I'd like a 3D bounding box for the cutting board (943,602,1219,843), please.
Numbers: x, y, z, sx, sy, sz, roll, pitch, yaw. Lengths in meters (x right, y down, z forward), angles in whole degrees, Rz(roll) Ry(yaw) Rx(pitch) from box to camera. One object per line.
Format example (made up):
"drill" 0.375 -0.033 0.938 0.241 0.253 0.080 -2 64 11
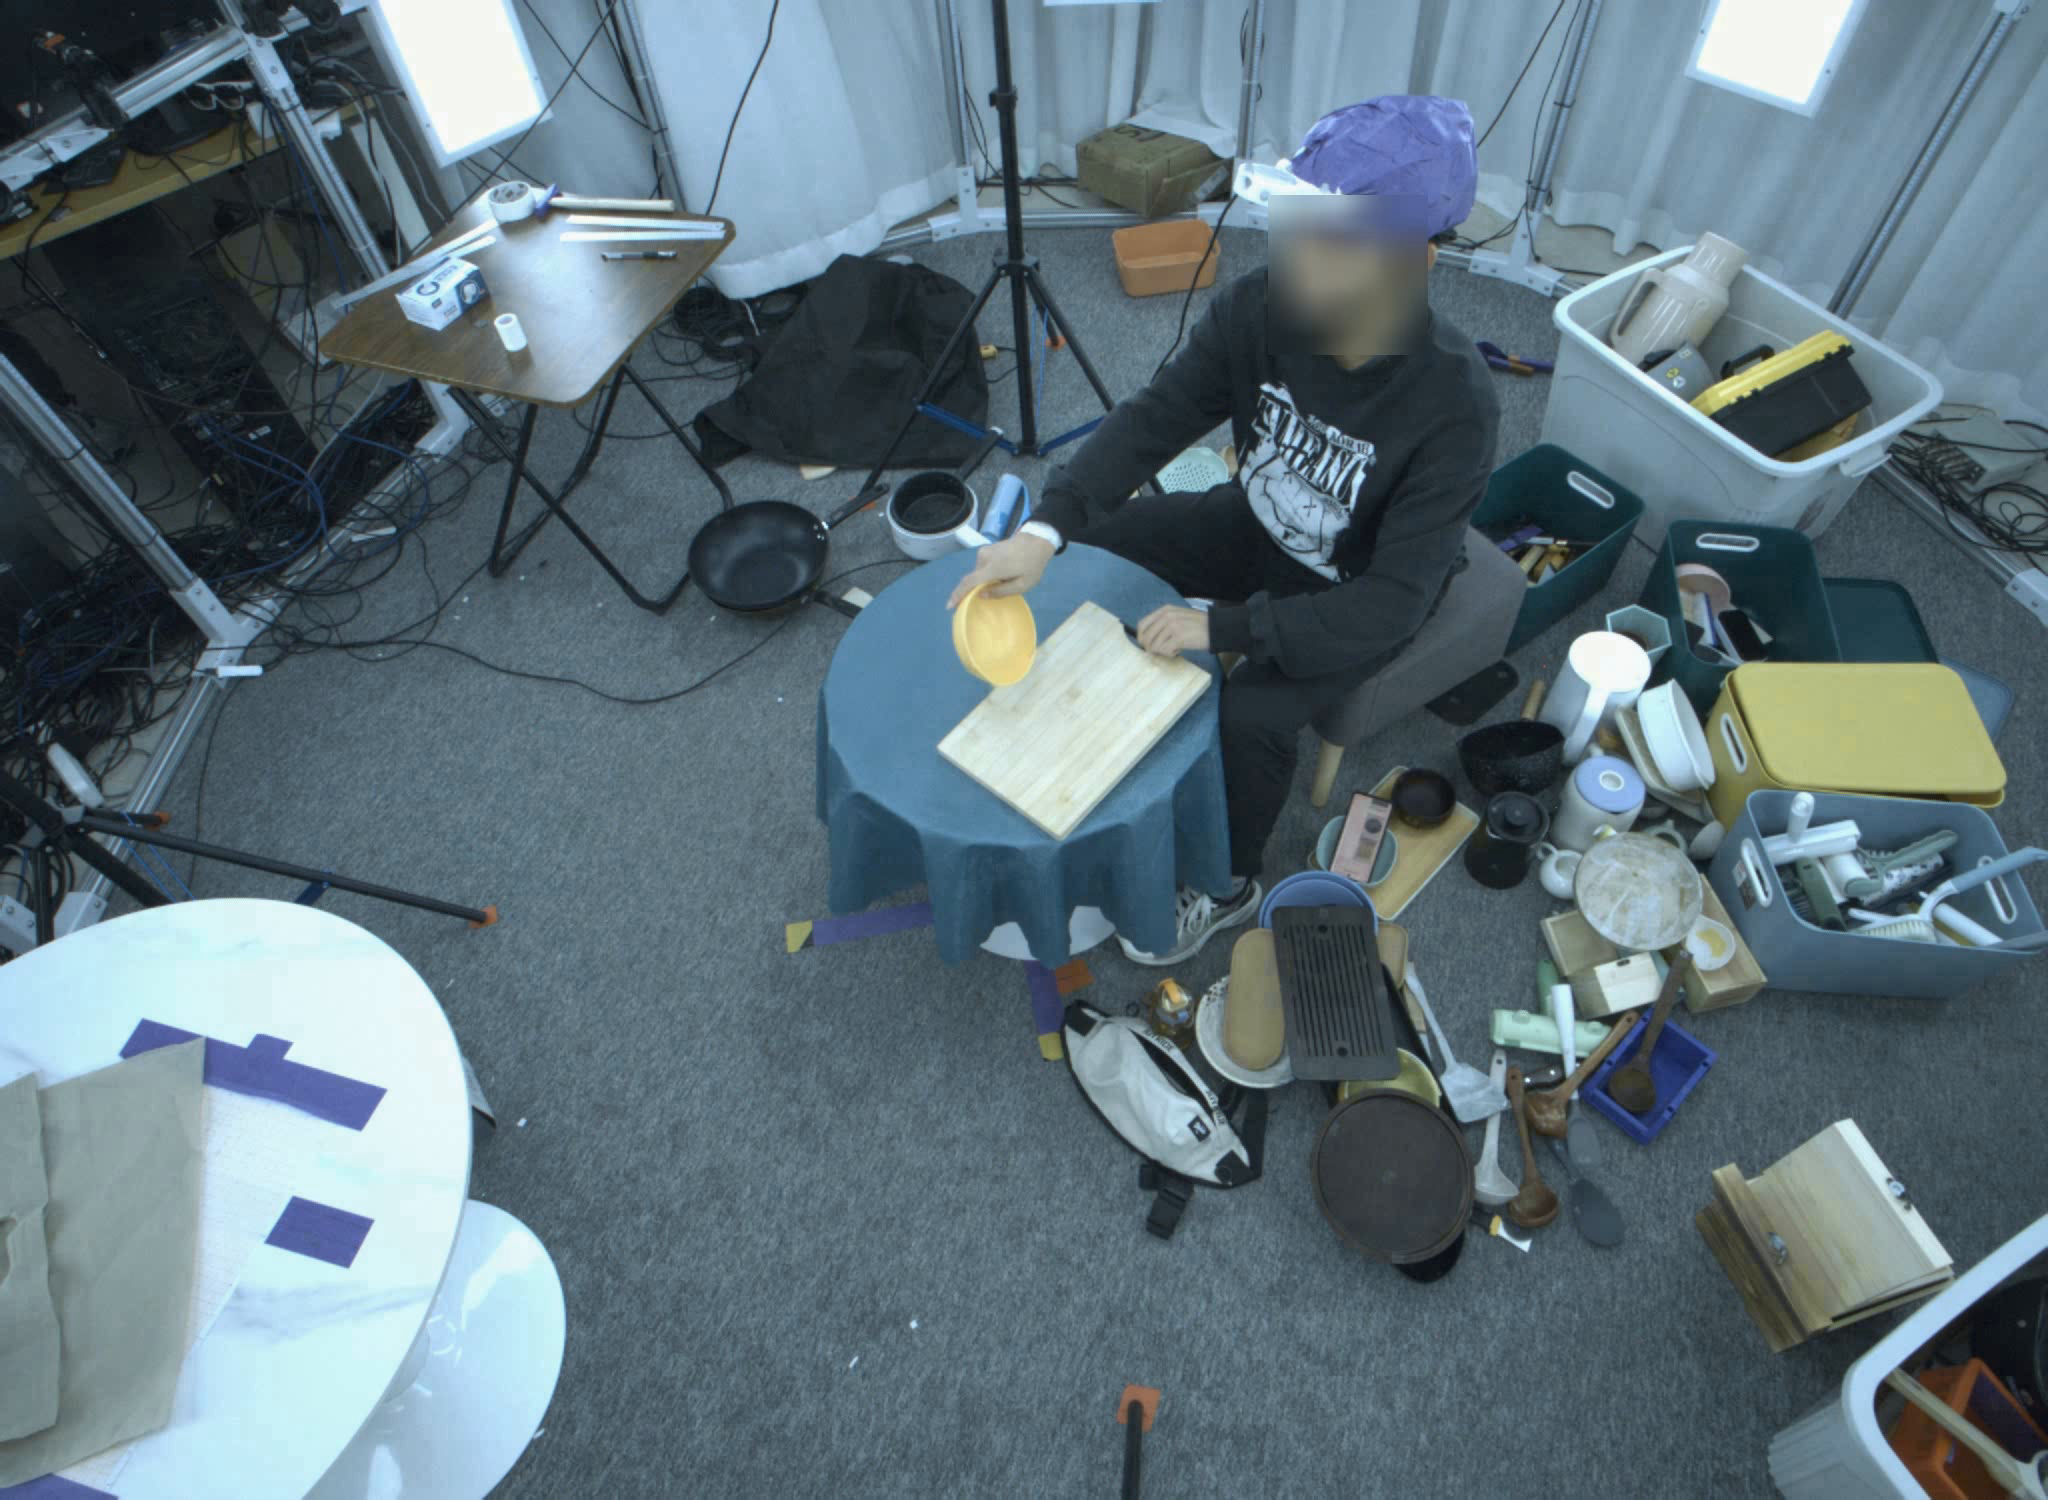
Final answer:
"cutting board" 0.082 -0.050 1.802 0.246 0.024 0.350 34 68 23

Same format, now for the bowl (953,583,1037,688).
"bowl" -0.051 -0.154 1.686 0.059 0.148 0.145 -4 47 43
